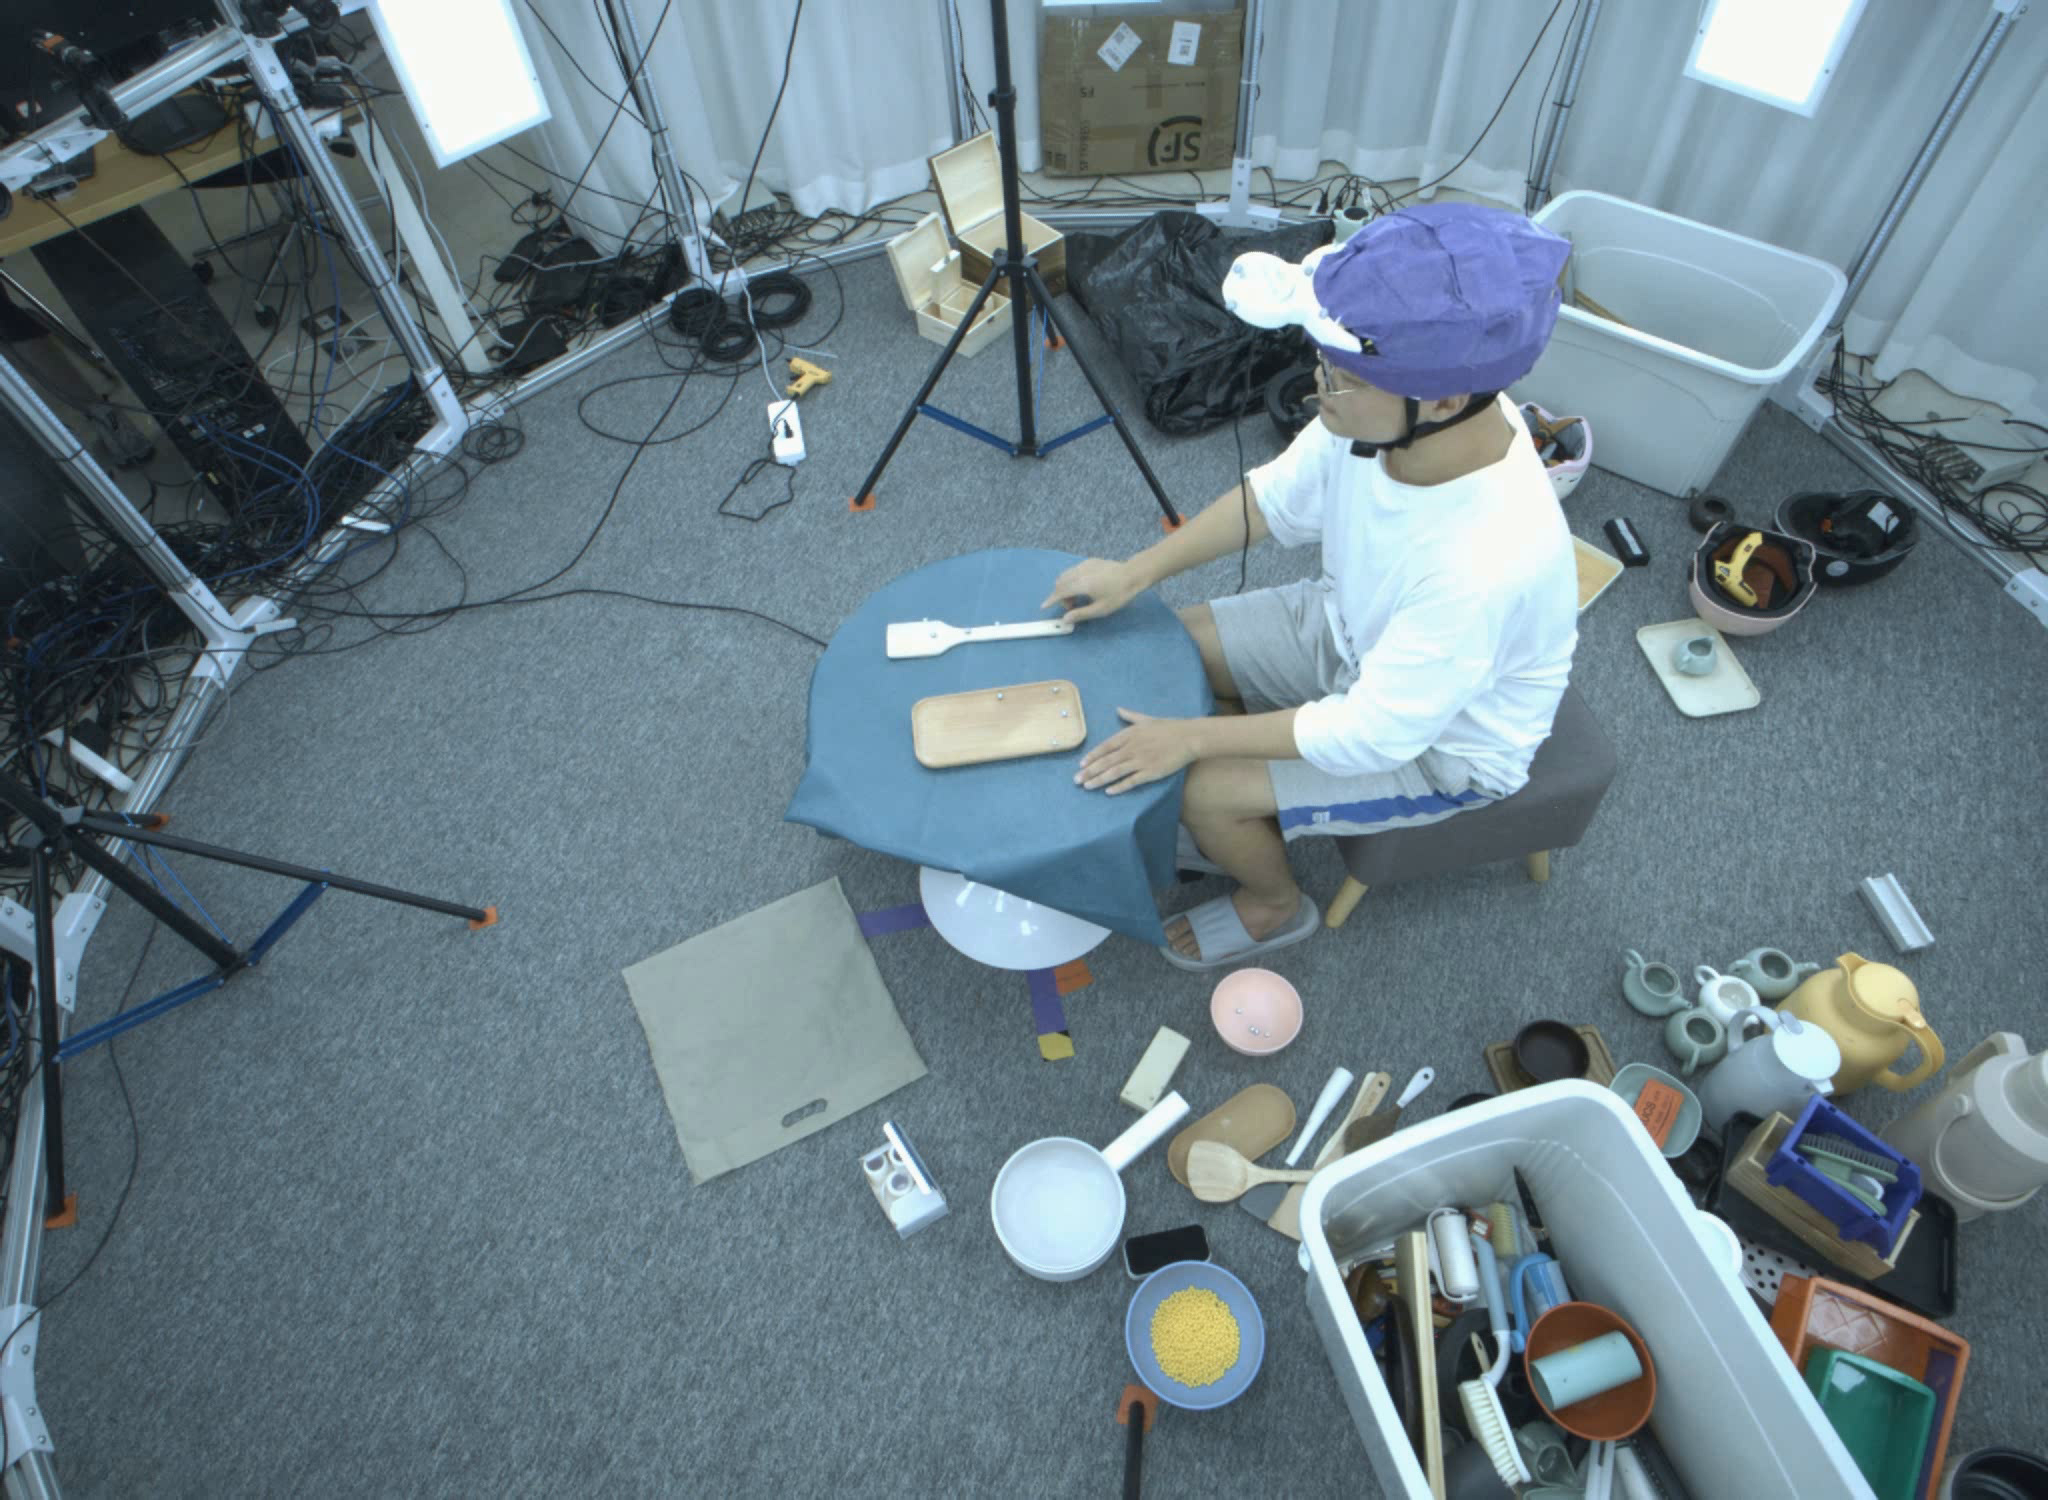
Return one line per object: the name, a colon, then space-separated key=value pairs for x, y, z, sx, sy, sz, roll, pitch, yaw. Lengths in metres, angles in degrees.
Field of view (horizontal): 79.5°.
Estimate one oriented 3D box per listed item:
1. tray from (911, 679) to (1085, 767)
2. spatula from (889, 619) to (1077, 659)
tray: x=-0.039 y=-0.040 z=1.804 sx=0.251 sy=0.023 sz=0.129 roll=-7 pitch=52 yaw=-3
spatula: x=-0.064 y=-0.182 z=1.911 sx=0.293 sy=0.011 sz=0.071 roll=-5 pitch=53 yaw=-2
